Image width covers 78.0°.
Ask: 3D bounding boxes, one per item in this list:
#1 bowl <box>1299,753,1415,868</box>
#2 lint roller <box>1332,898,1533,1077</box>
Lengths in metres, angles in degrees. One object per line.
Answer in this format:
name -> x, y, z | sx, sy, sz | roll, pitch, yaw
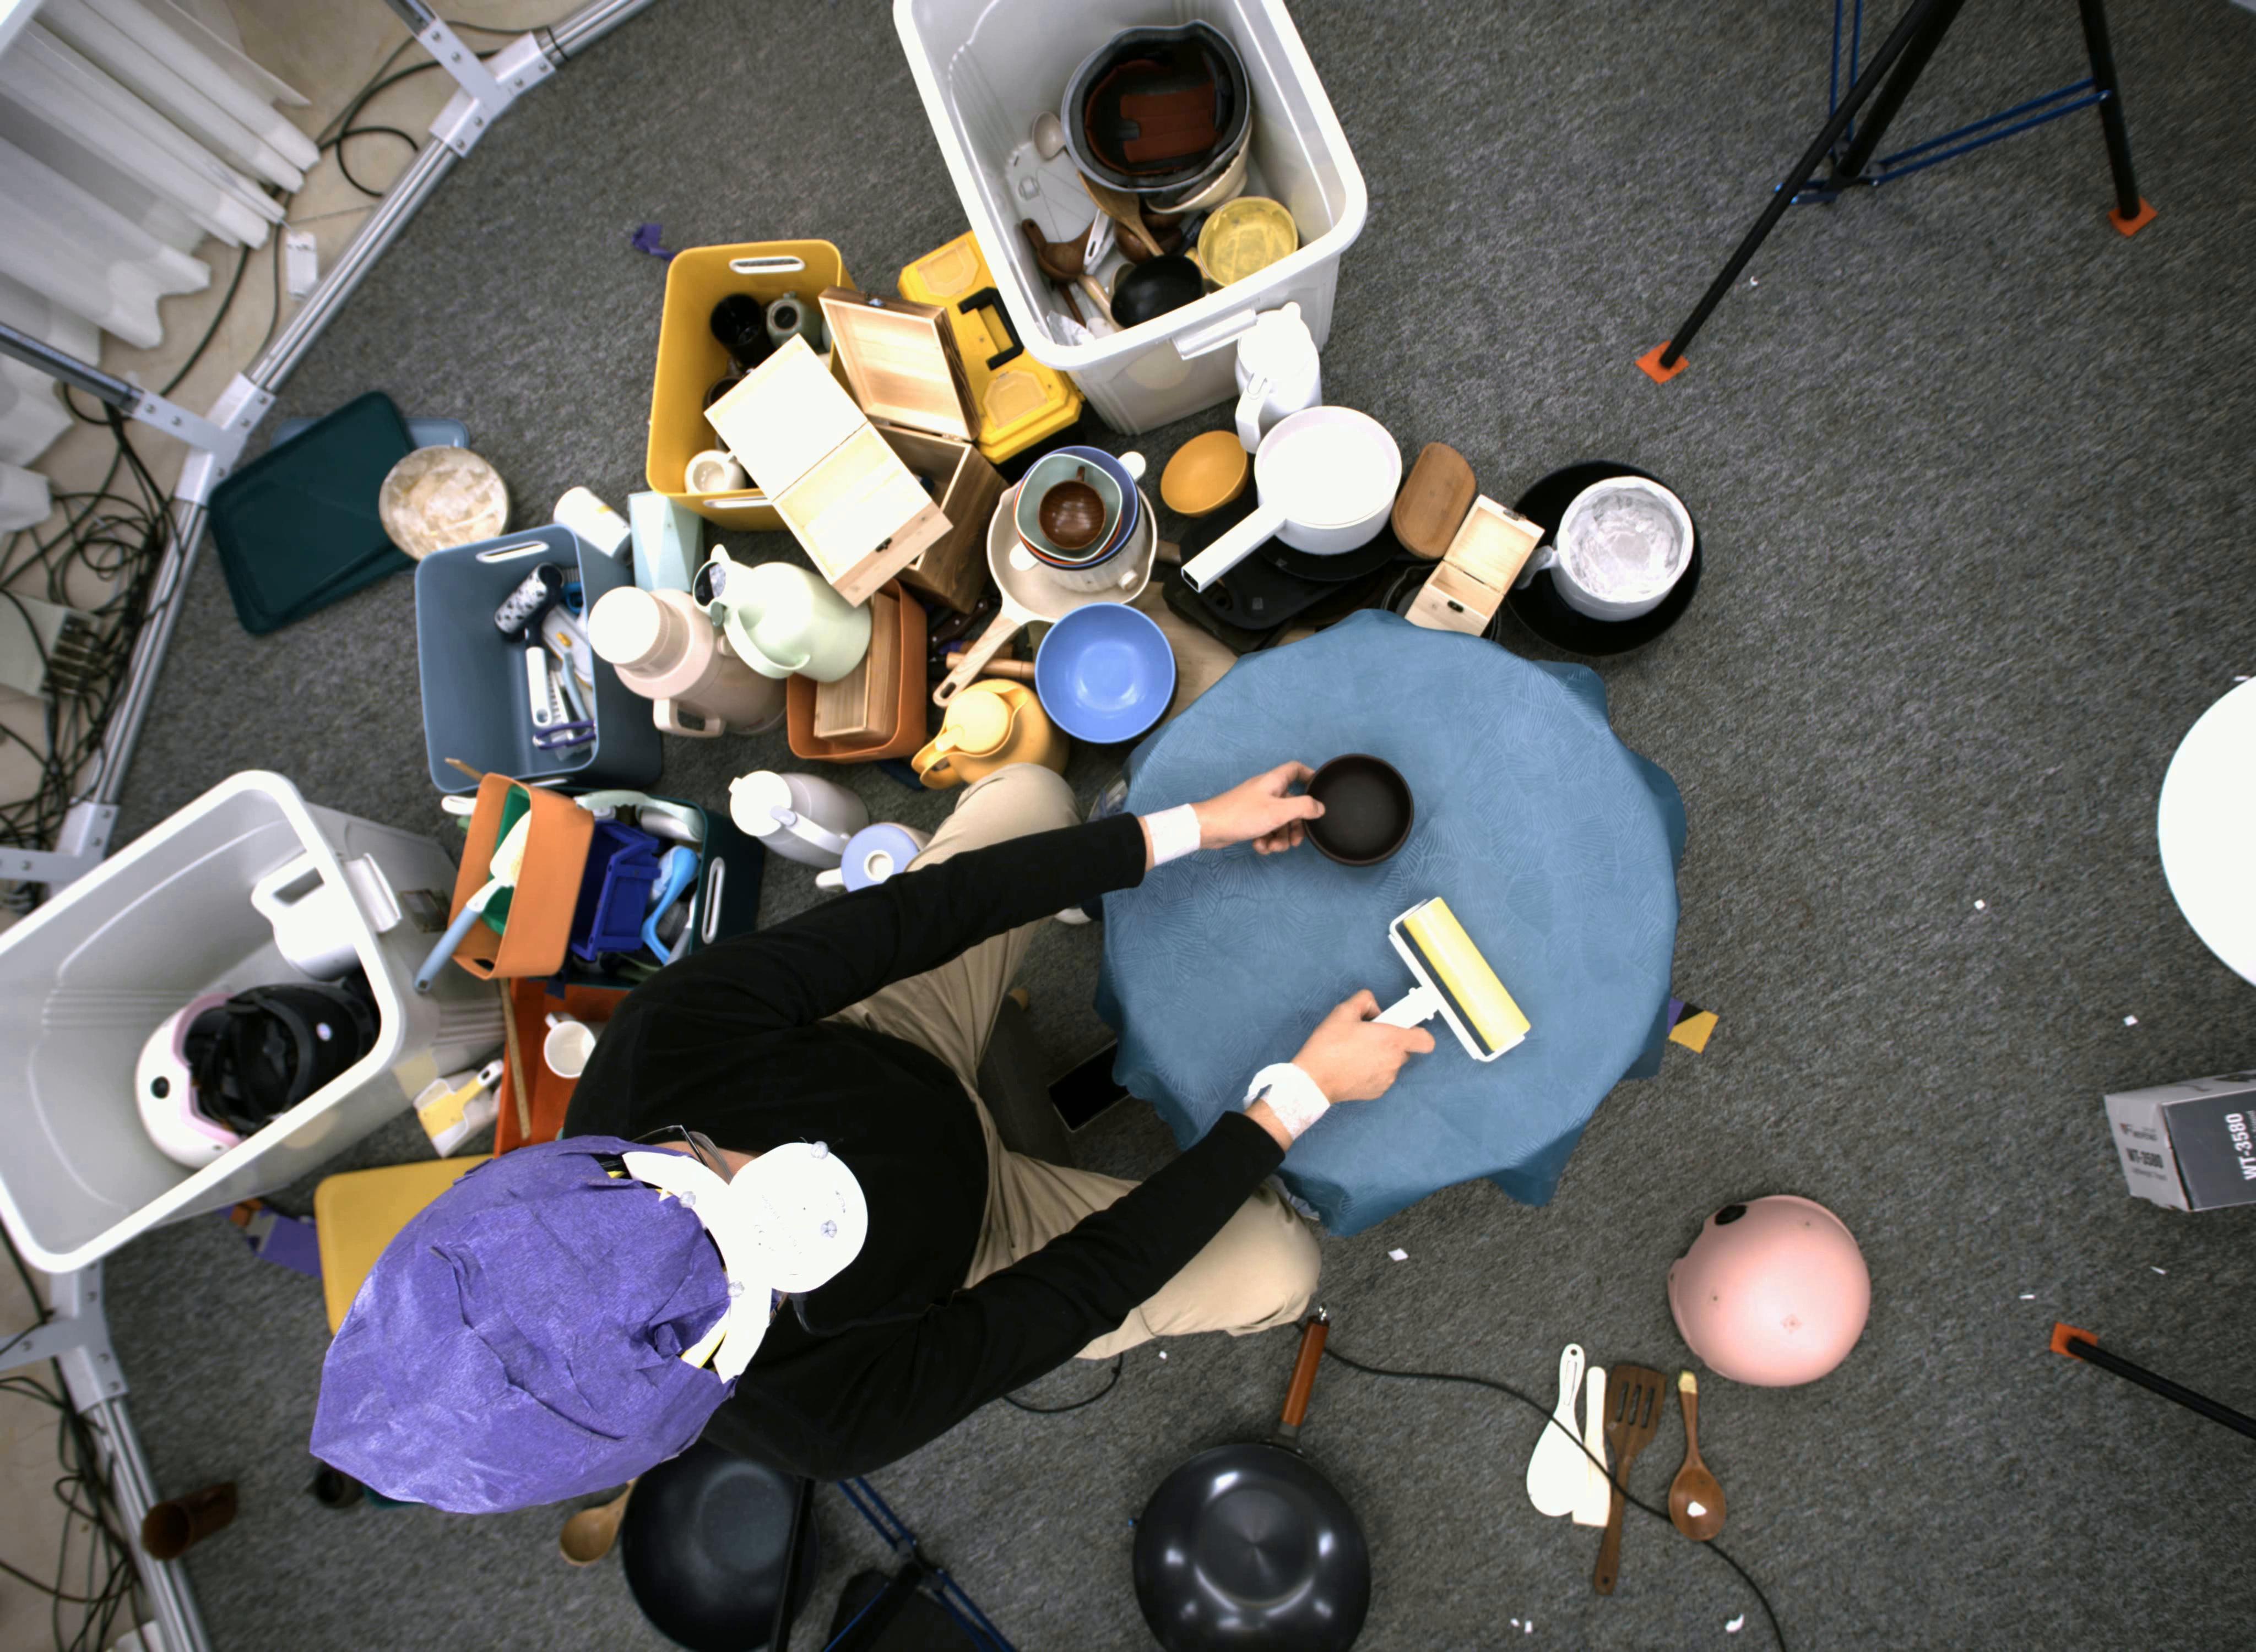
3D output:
bowl -> 0.237, -0.015, 1.433 | 0.118, 0.070, 0.117 | -1, 85, 10
lint roller -> 0.290, 0.190, 1.409 | 0.191, 0.052, 0.173 | -34, 81, -10
